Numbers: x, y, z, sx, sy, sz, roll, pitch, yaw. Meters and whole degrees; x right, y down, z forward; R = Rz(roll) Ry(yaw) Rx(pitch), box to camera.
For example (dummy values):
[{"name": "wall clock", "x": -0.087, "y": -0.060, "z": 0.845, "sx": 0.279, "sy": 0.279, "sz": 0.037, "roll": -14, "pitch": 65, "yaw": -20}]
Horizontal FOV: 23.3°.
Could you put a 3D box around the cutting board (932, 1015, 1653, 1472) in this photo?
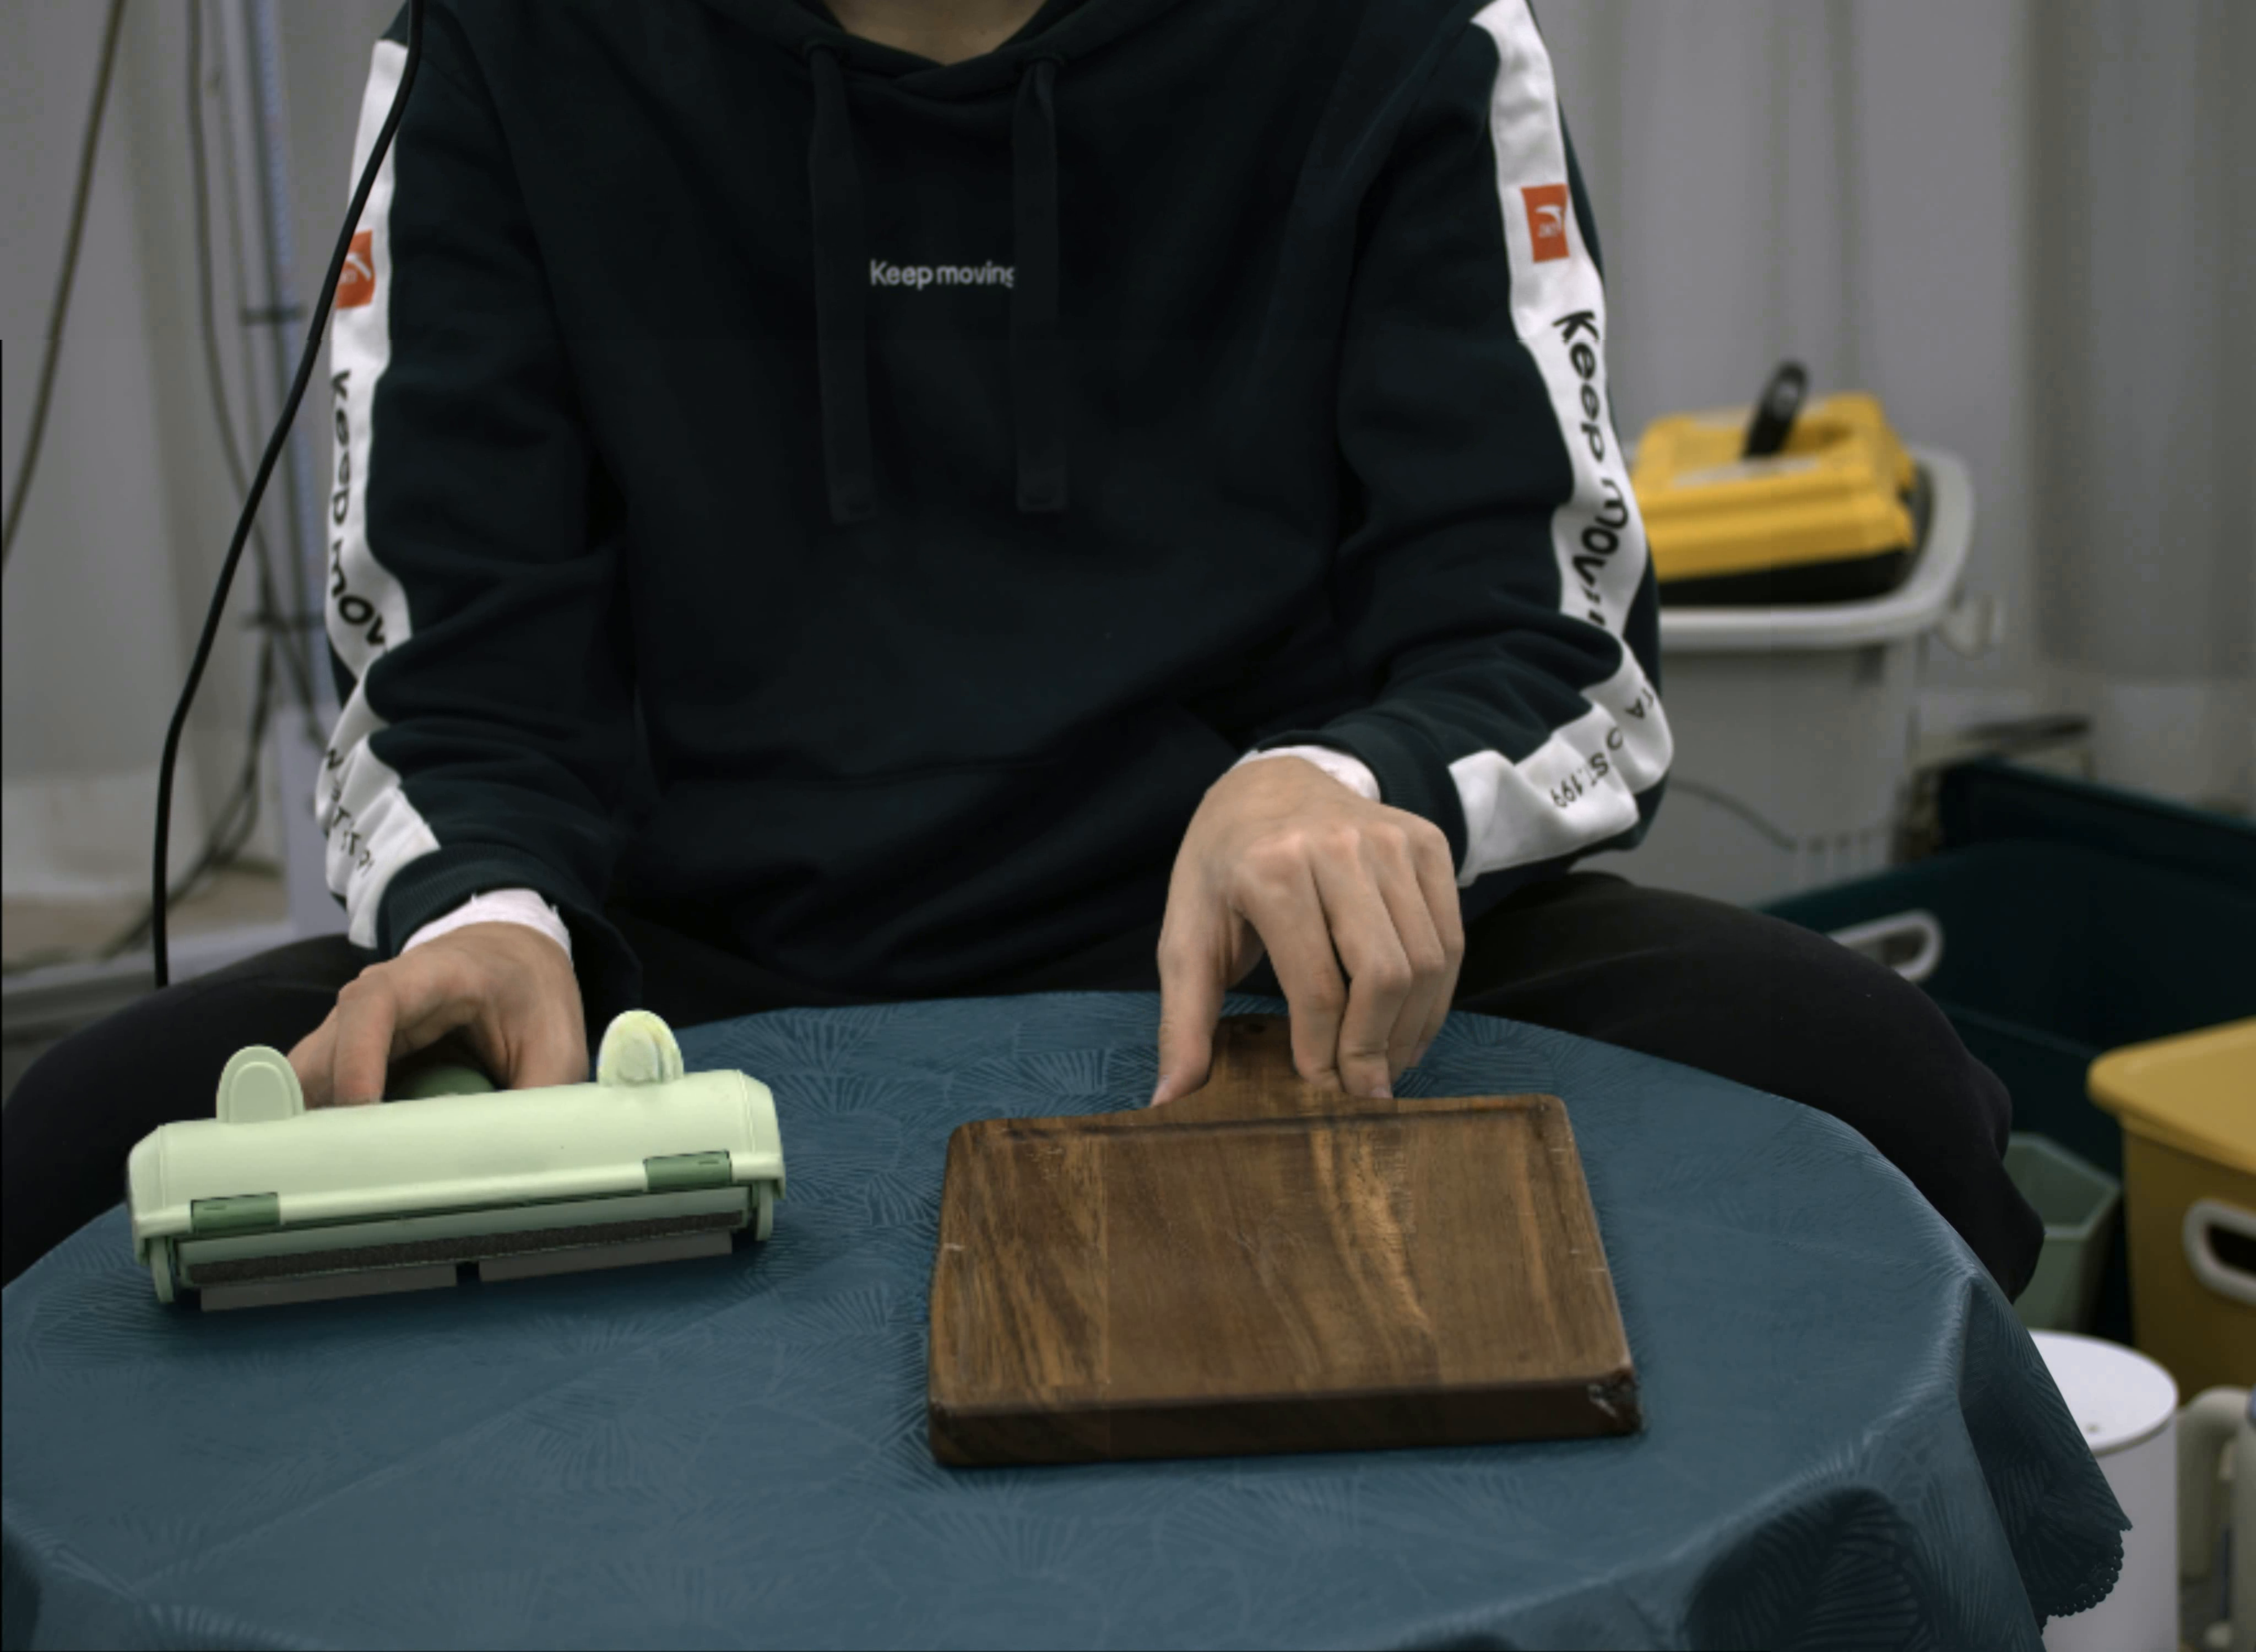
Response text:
[{"name": "cutting board", "x": 0.041, "y": 0.118, "z": 1.655, "sx": 0.200, "sy": 0.023, "sz": 0.354, "roll": -3, "pitch": 15, "yaw": 0}]

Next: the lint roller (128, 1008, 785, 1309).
[{"name": "lint roller", "x": -0.214, "y": 0.086, "z": 1.717, "sx": 0.198, "sy": 0.082, "sz": 0.185, "roll": -6, "pitch": 19, "yaw": -8}]
